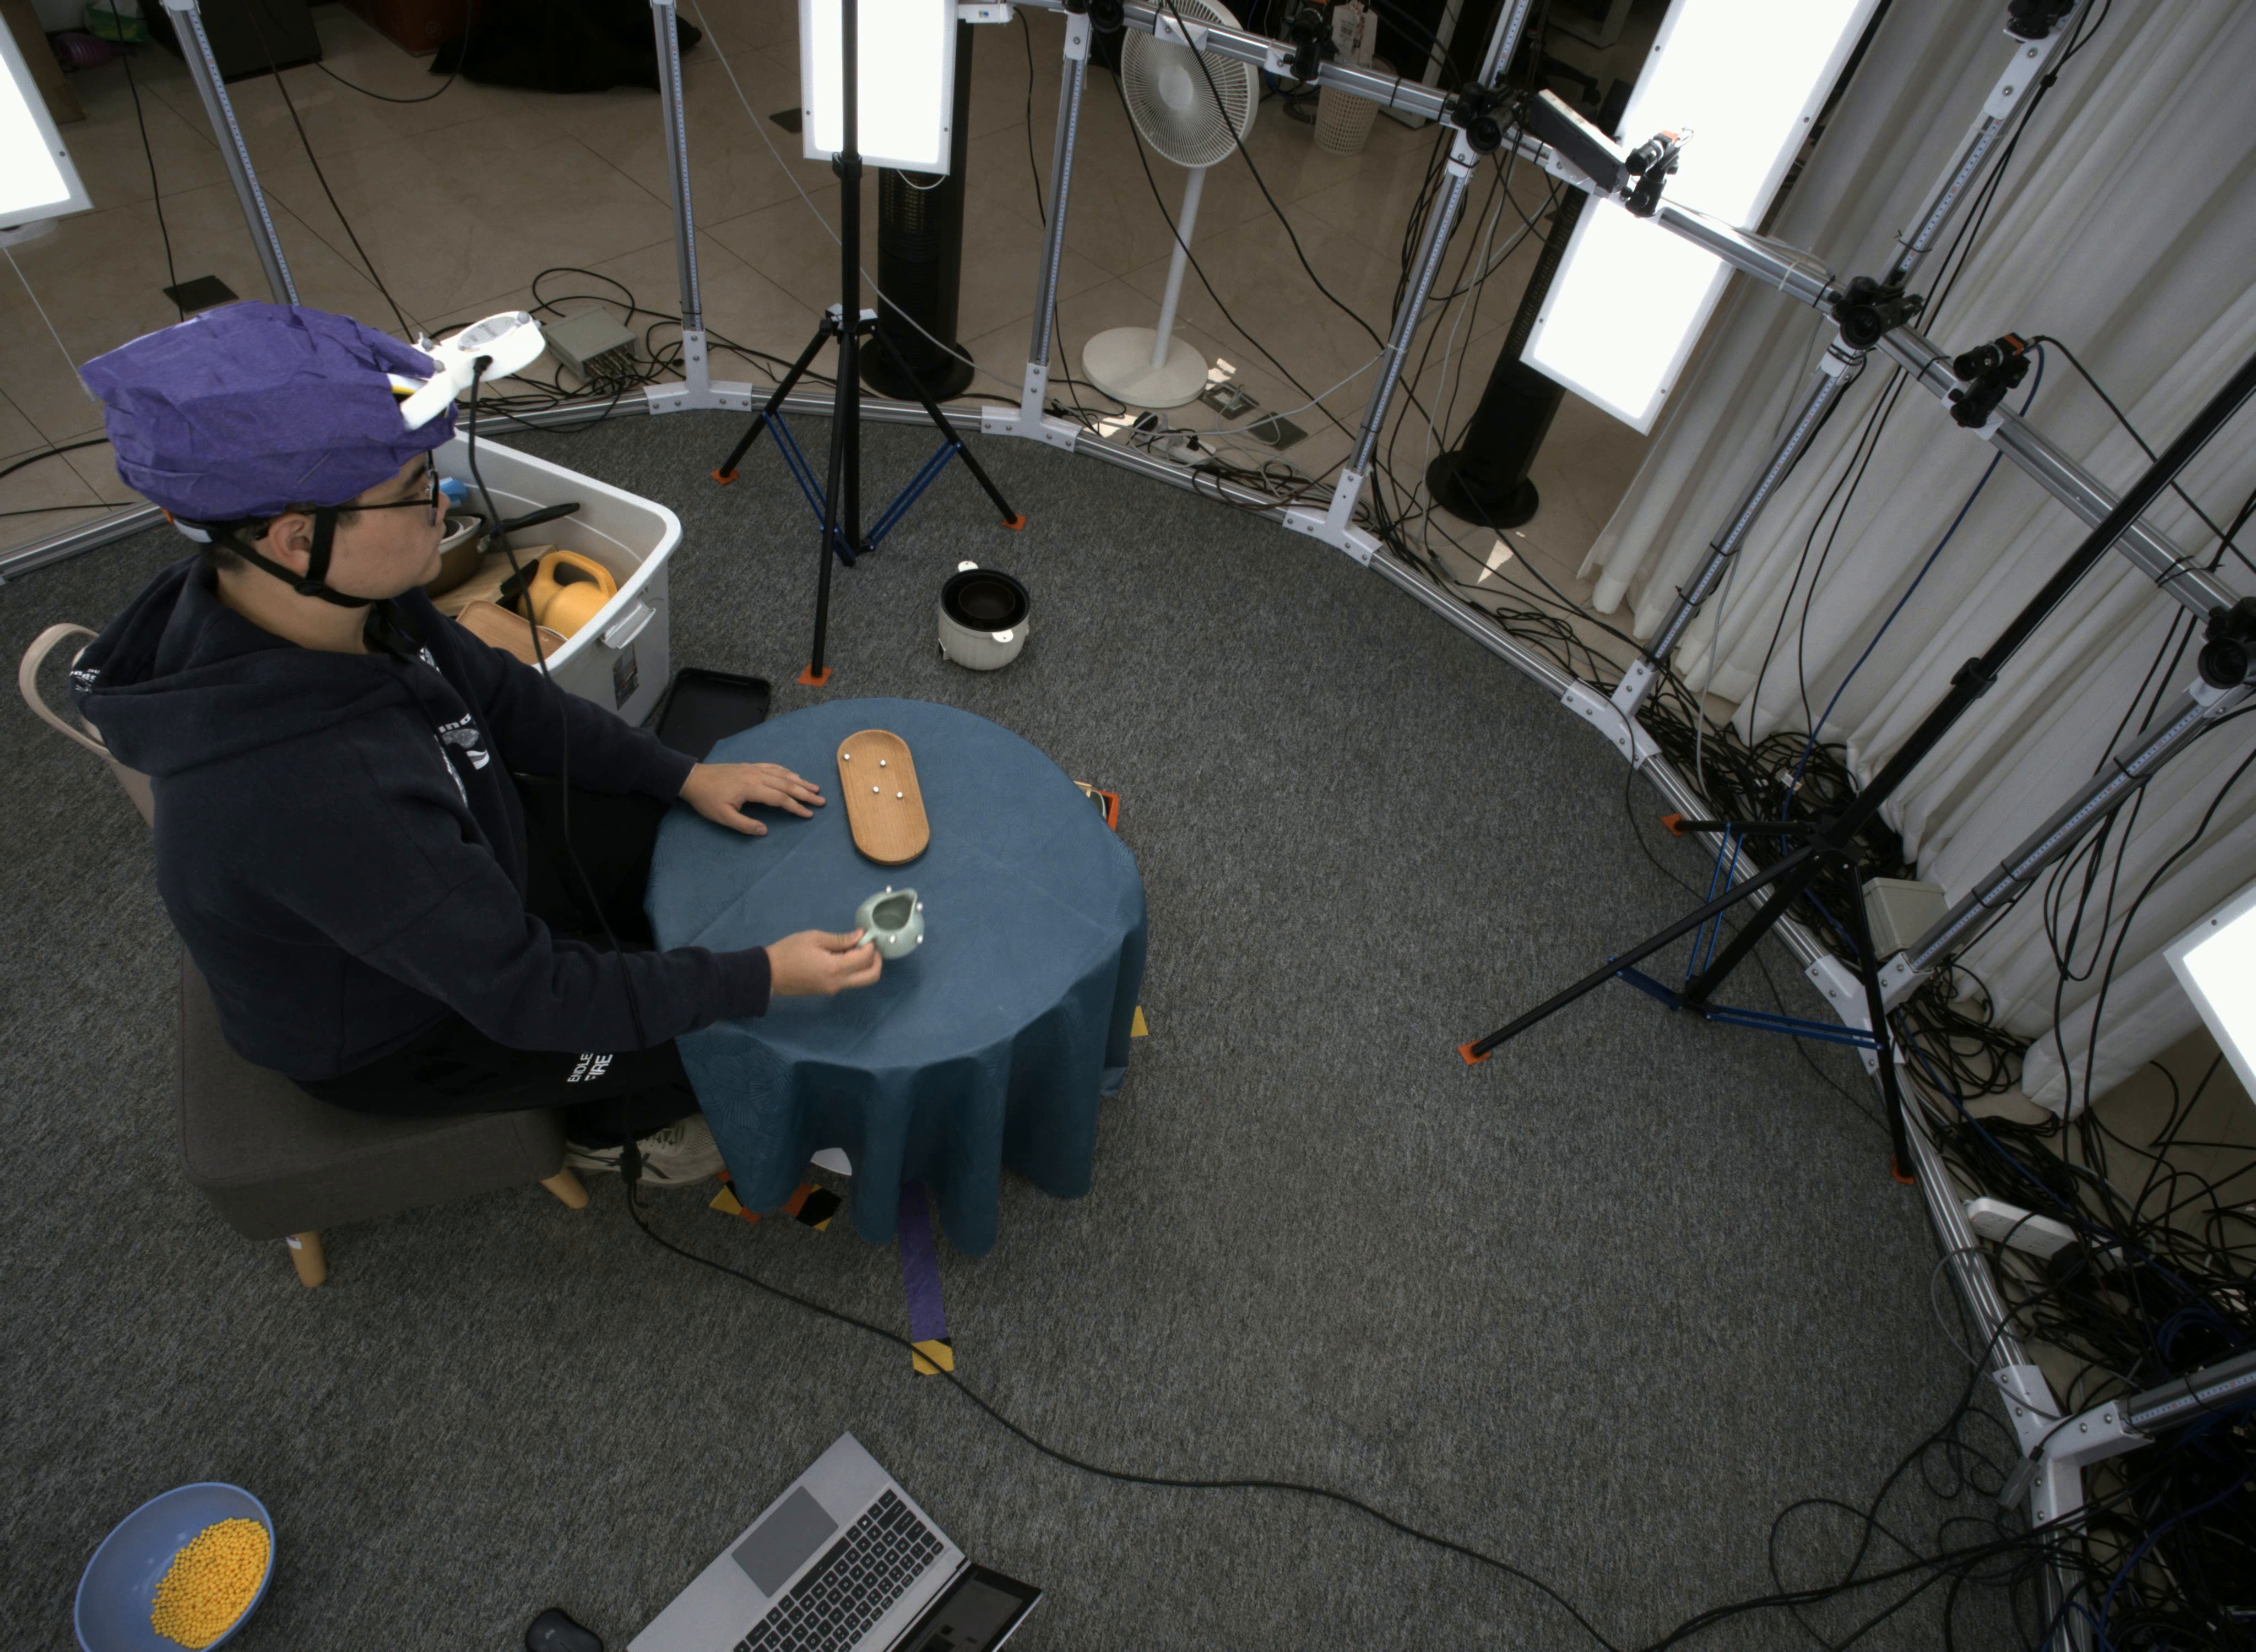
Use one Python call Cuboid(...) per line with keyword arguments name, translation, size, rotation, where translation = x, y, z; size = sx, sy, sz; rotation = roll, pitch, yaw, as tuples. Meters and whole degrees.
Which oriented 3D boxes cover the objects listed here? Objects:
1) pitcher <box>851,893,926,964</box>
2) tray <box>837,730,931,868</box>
Cuboid(name="pitcher", translation=(-0.294, 0.128, 1.570), size=(0.085, 0.061, 0.108), rotation=(38, 60, 6))
Cuboid(name="tray", translation=(-0.332, -0.039, 1.763), size=(0.102, 0.021, 0.226), rotation=(-9, 59, -18))
